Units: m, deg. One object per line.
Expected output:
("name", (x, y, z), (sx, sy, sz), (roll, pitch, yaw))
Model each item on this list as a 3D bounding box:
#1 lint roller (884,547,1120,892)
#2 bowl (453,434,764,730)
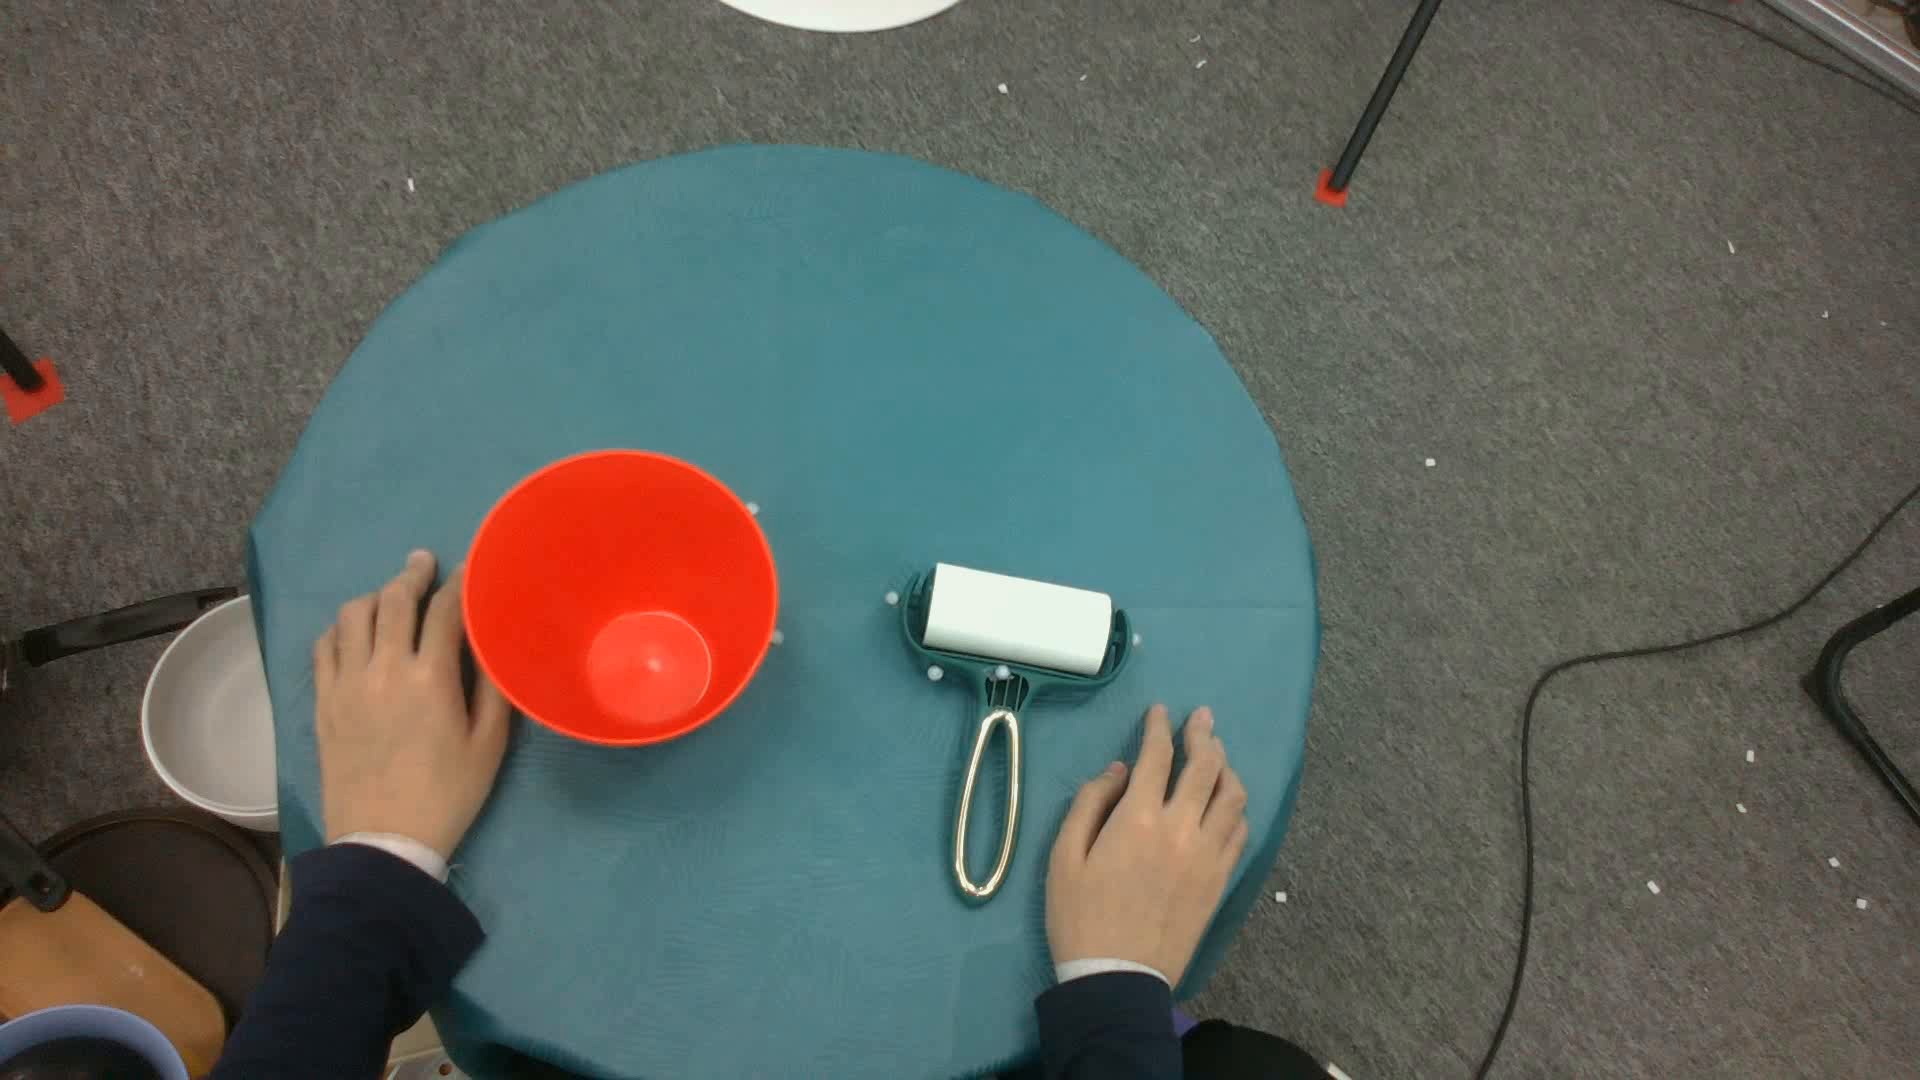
("lint roller", (0.014, 0.096, 0.747), (0.134, 0.048, 0.181), (10, 67, -5))
("bowl", (-0.176, 0.033, 0.711), (0.148, 0.104, 0.148), (4, 67, -8))
